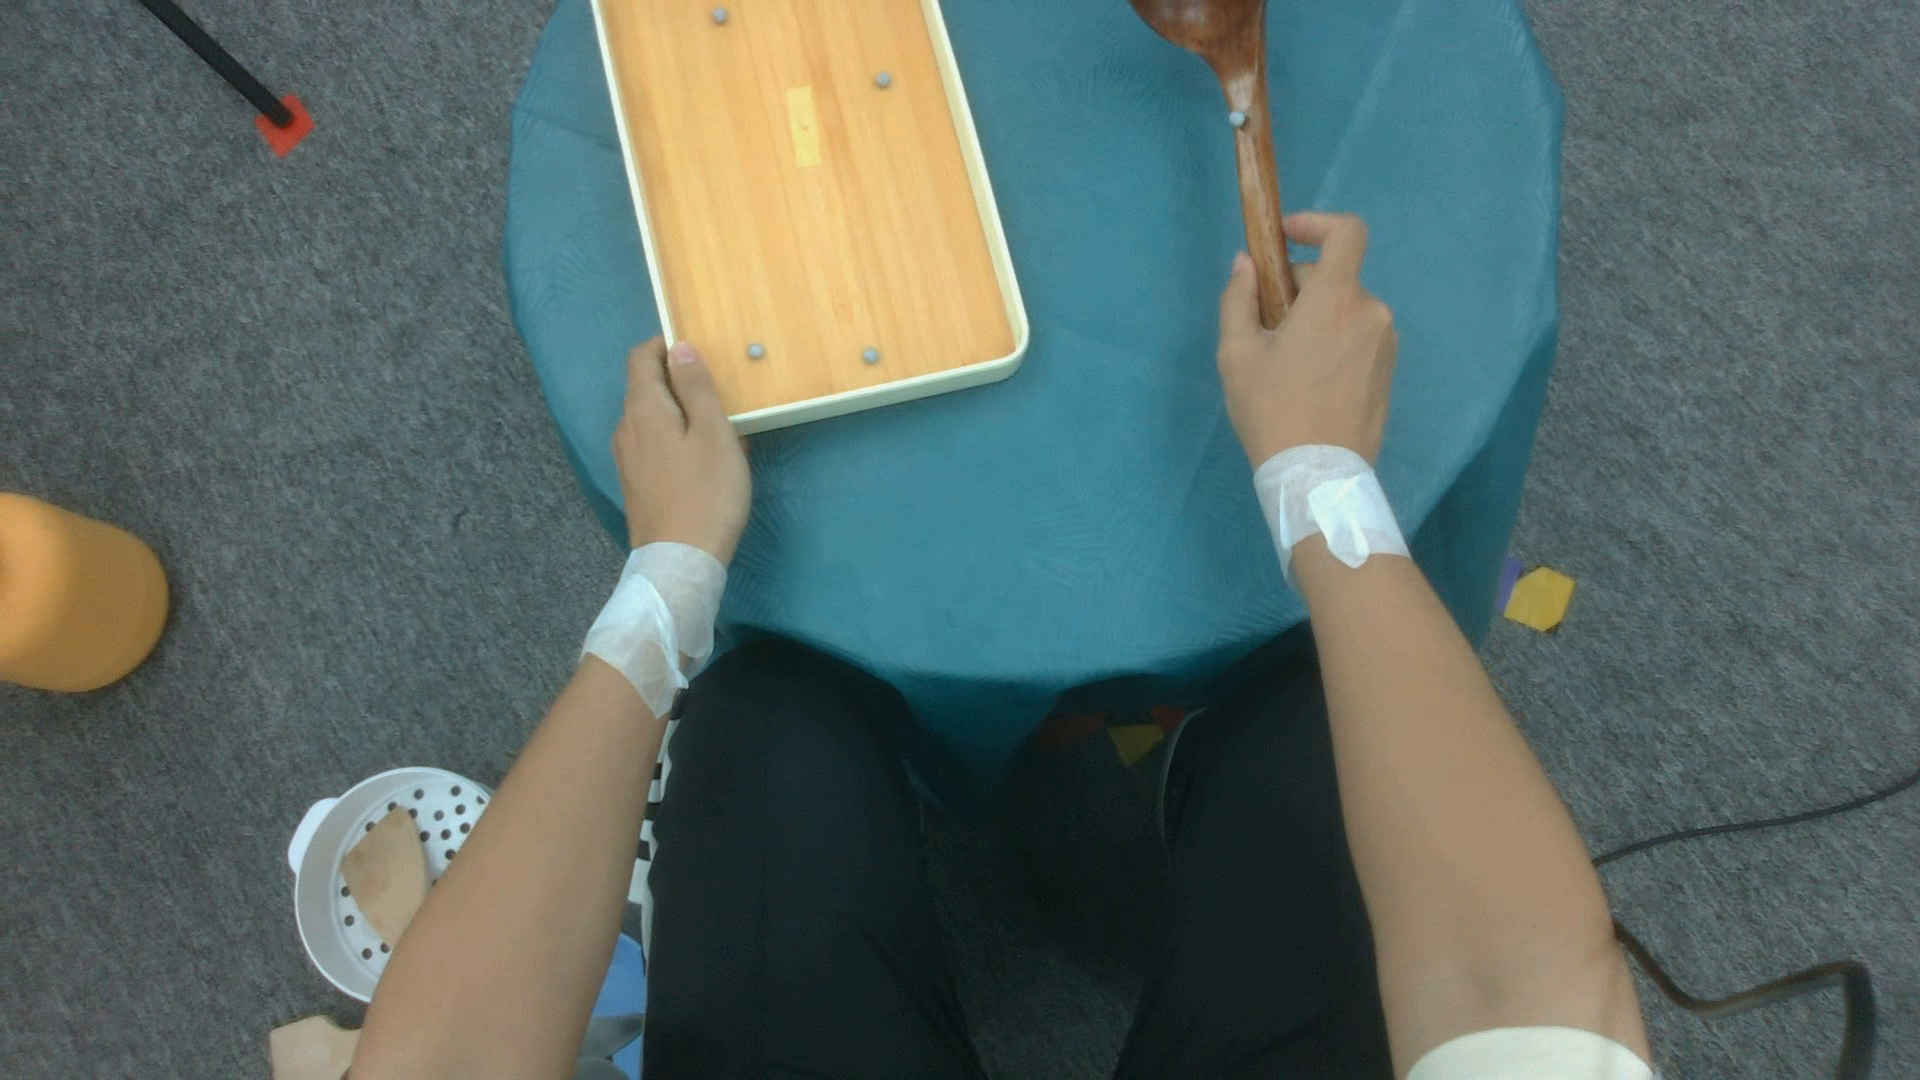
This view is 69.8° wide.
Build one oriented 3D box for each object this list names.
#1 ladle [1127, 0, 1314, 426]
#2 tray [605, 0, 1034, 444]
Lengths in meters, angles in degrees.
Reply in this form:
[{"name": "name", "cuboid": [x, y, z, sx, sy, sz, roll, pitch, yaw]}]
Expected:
[{"name": "ladle", "cuboid": [0.138, -0.196, 0.716, 0.077, 0.081, 0.274, 7, 71, -37]}, {"name": "tray", "cuboid": [-0.084, -0.212, 0.786, 0.192, 0.027, 0.301, -13, 75, -6]}]
